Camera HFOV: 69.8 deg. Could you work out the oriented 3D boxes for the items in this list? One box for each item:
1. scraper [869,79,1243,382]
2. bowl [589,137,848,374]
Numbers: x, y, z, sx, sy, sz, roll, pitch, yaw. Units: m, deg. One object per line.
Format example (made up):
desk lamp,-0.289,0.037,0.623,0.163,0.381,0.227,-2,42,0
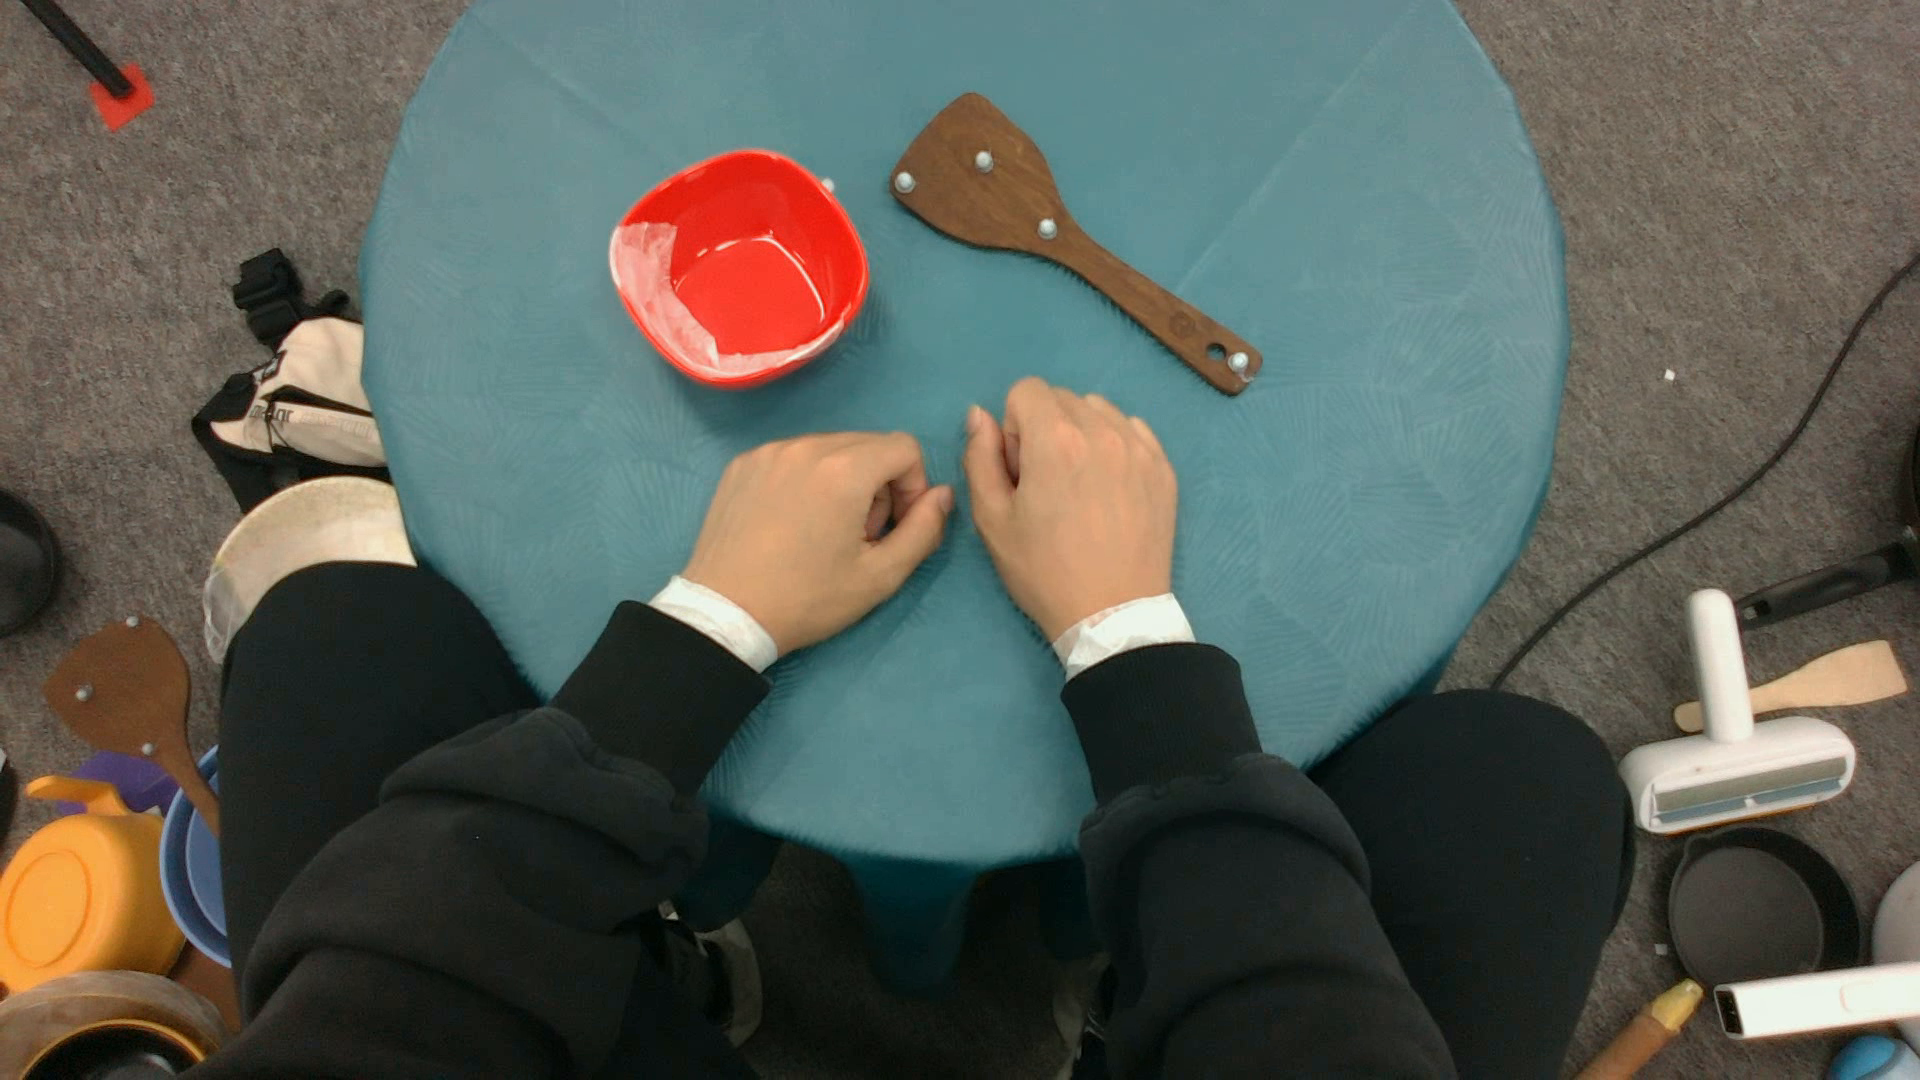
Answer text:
scraper,0.052,-0.149,0.690,0.211,0.011,0.076,38,77,8
bowl,-0.112,-0.127,0.654,0.119,0.051,0.119,1,71,-3
